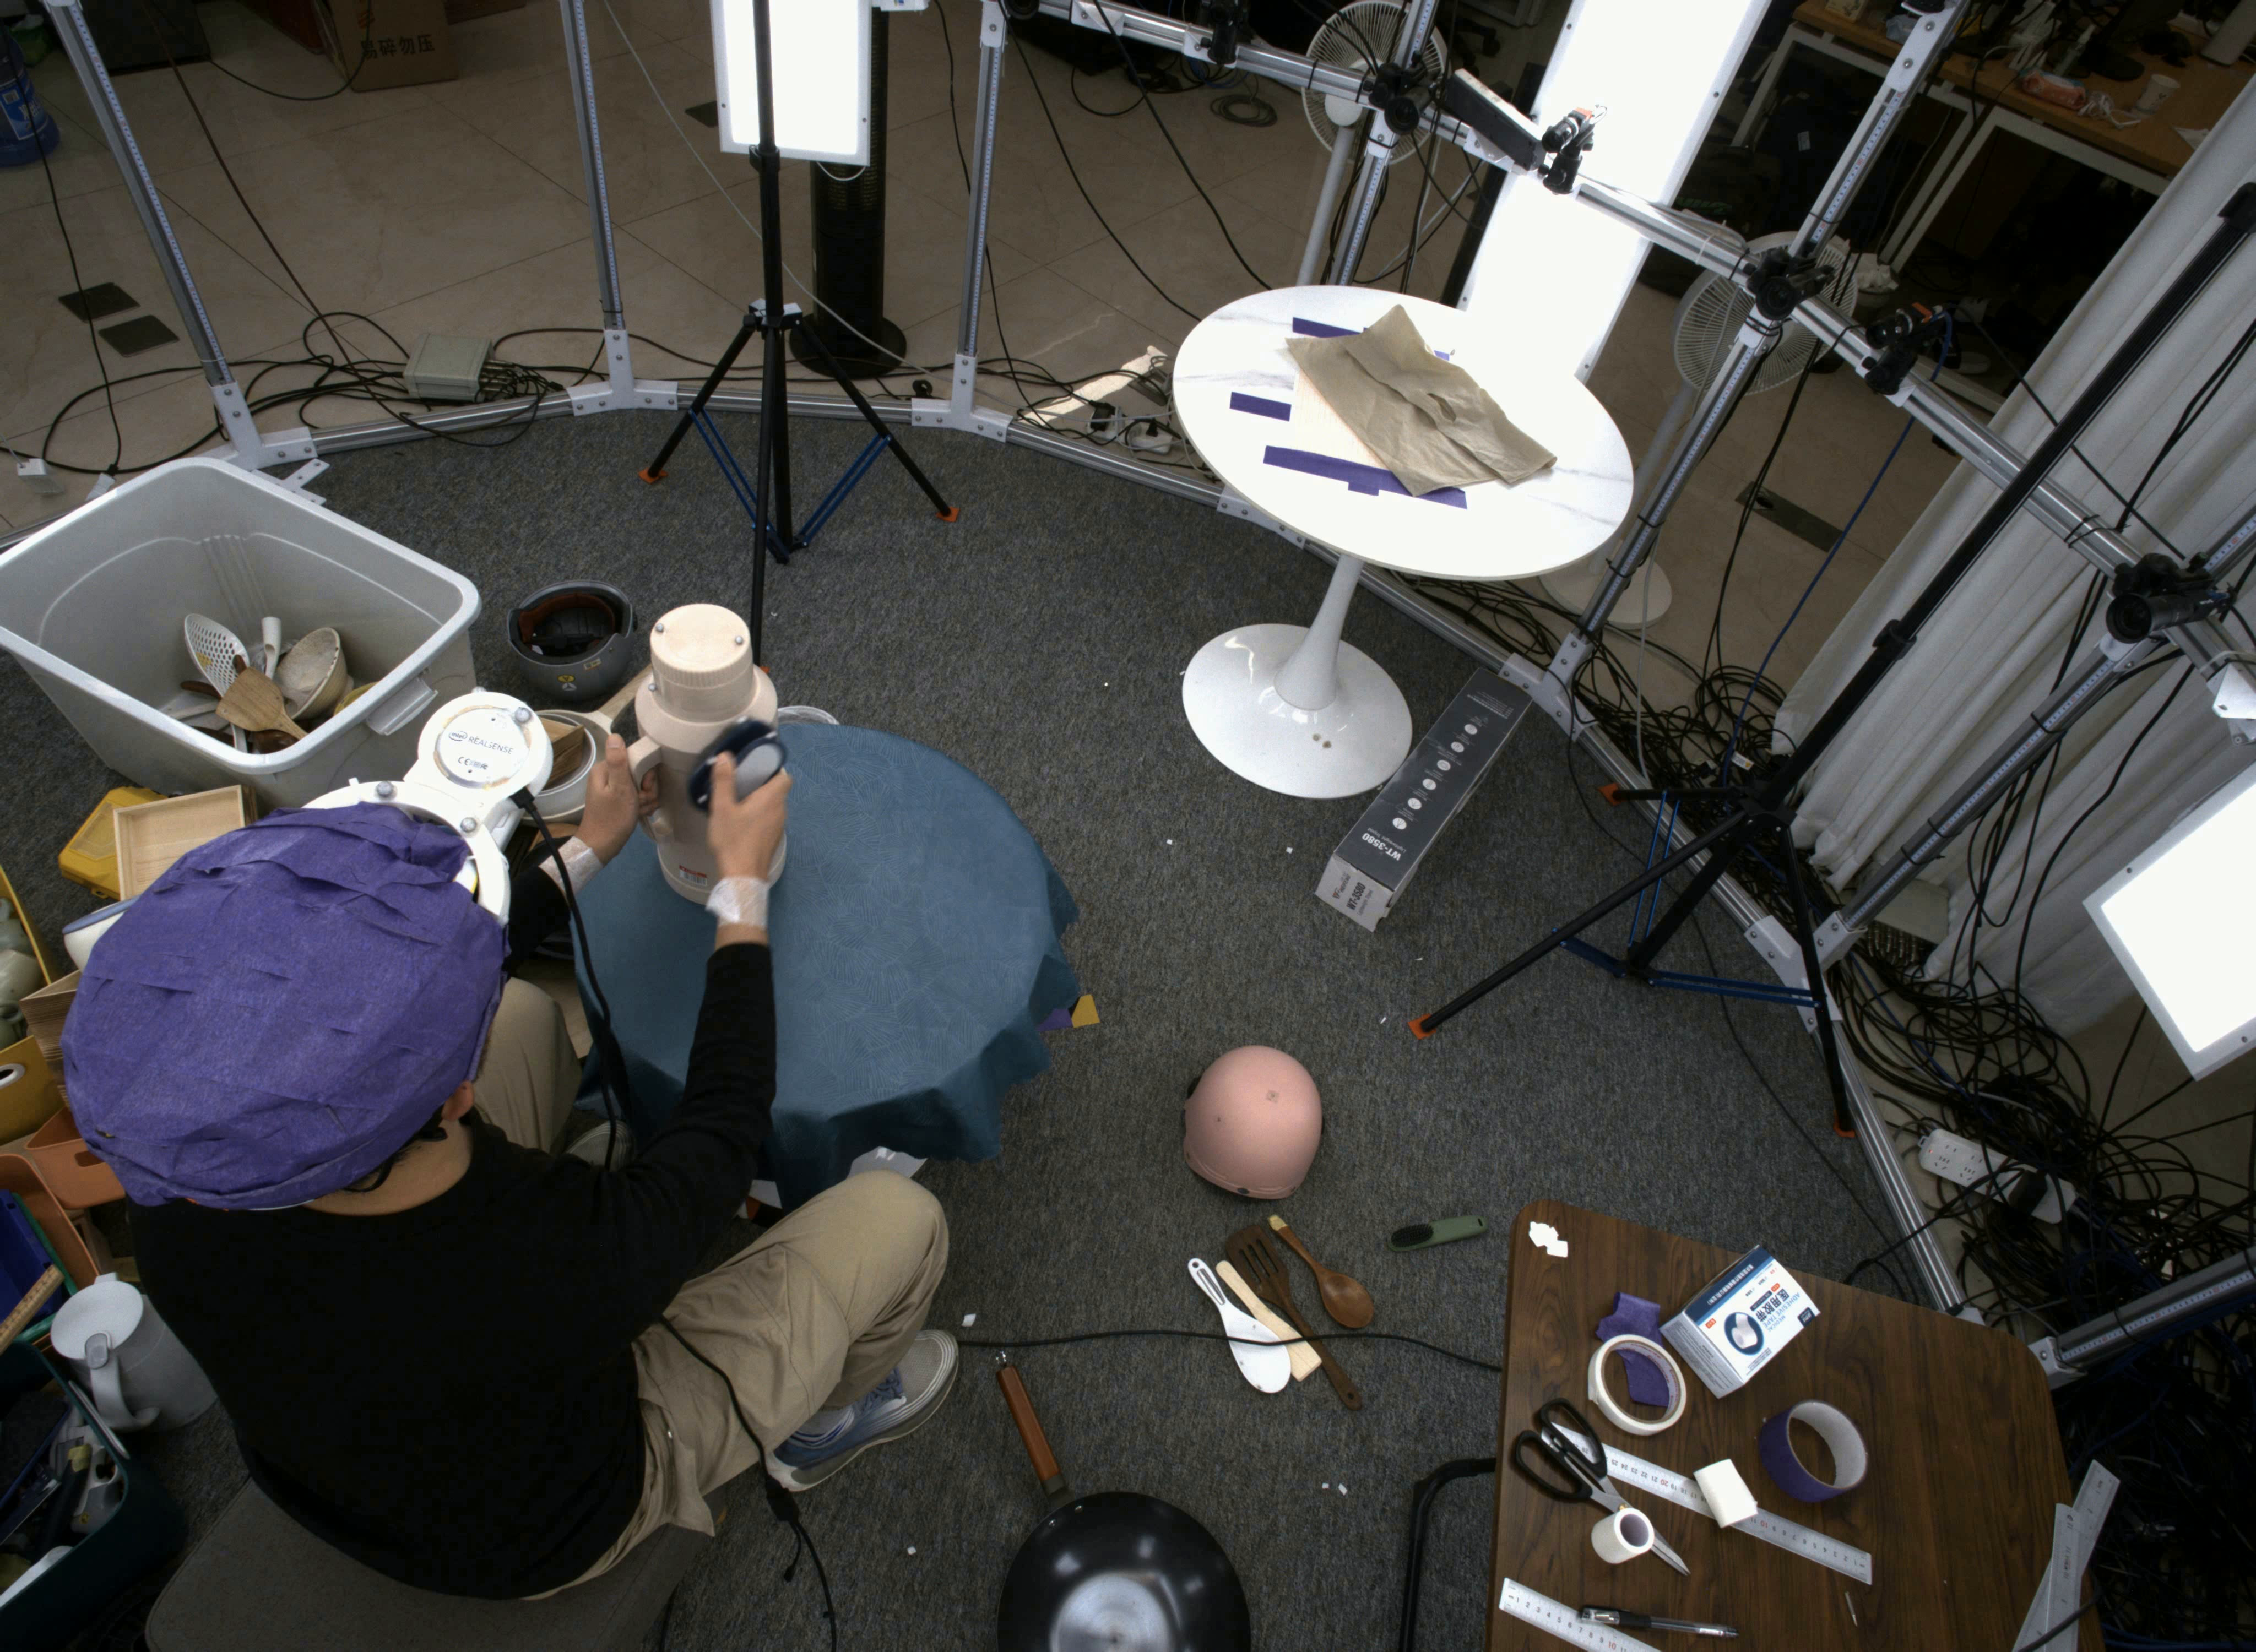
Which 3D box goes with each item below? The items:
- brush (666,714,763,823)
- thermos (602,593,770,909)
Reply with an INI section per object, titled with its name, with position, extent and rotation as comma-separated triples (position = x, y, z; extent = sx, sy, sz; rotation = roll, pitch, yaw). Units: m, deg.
[brush]
position = -0.446, -0.064, 1.384
extent = 0.059, 0.070, 0.122
rotation = 37, 87, 37
[thermos]
position = -0.517, -0.076, 1.494
extent = 0.172, 0.414, 0.207
rotation = 34, 53, 13
